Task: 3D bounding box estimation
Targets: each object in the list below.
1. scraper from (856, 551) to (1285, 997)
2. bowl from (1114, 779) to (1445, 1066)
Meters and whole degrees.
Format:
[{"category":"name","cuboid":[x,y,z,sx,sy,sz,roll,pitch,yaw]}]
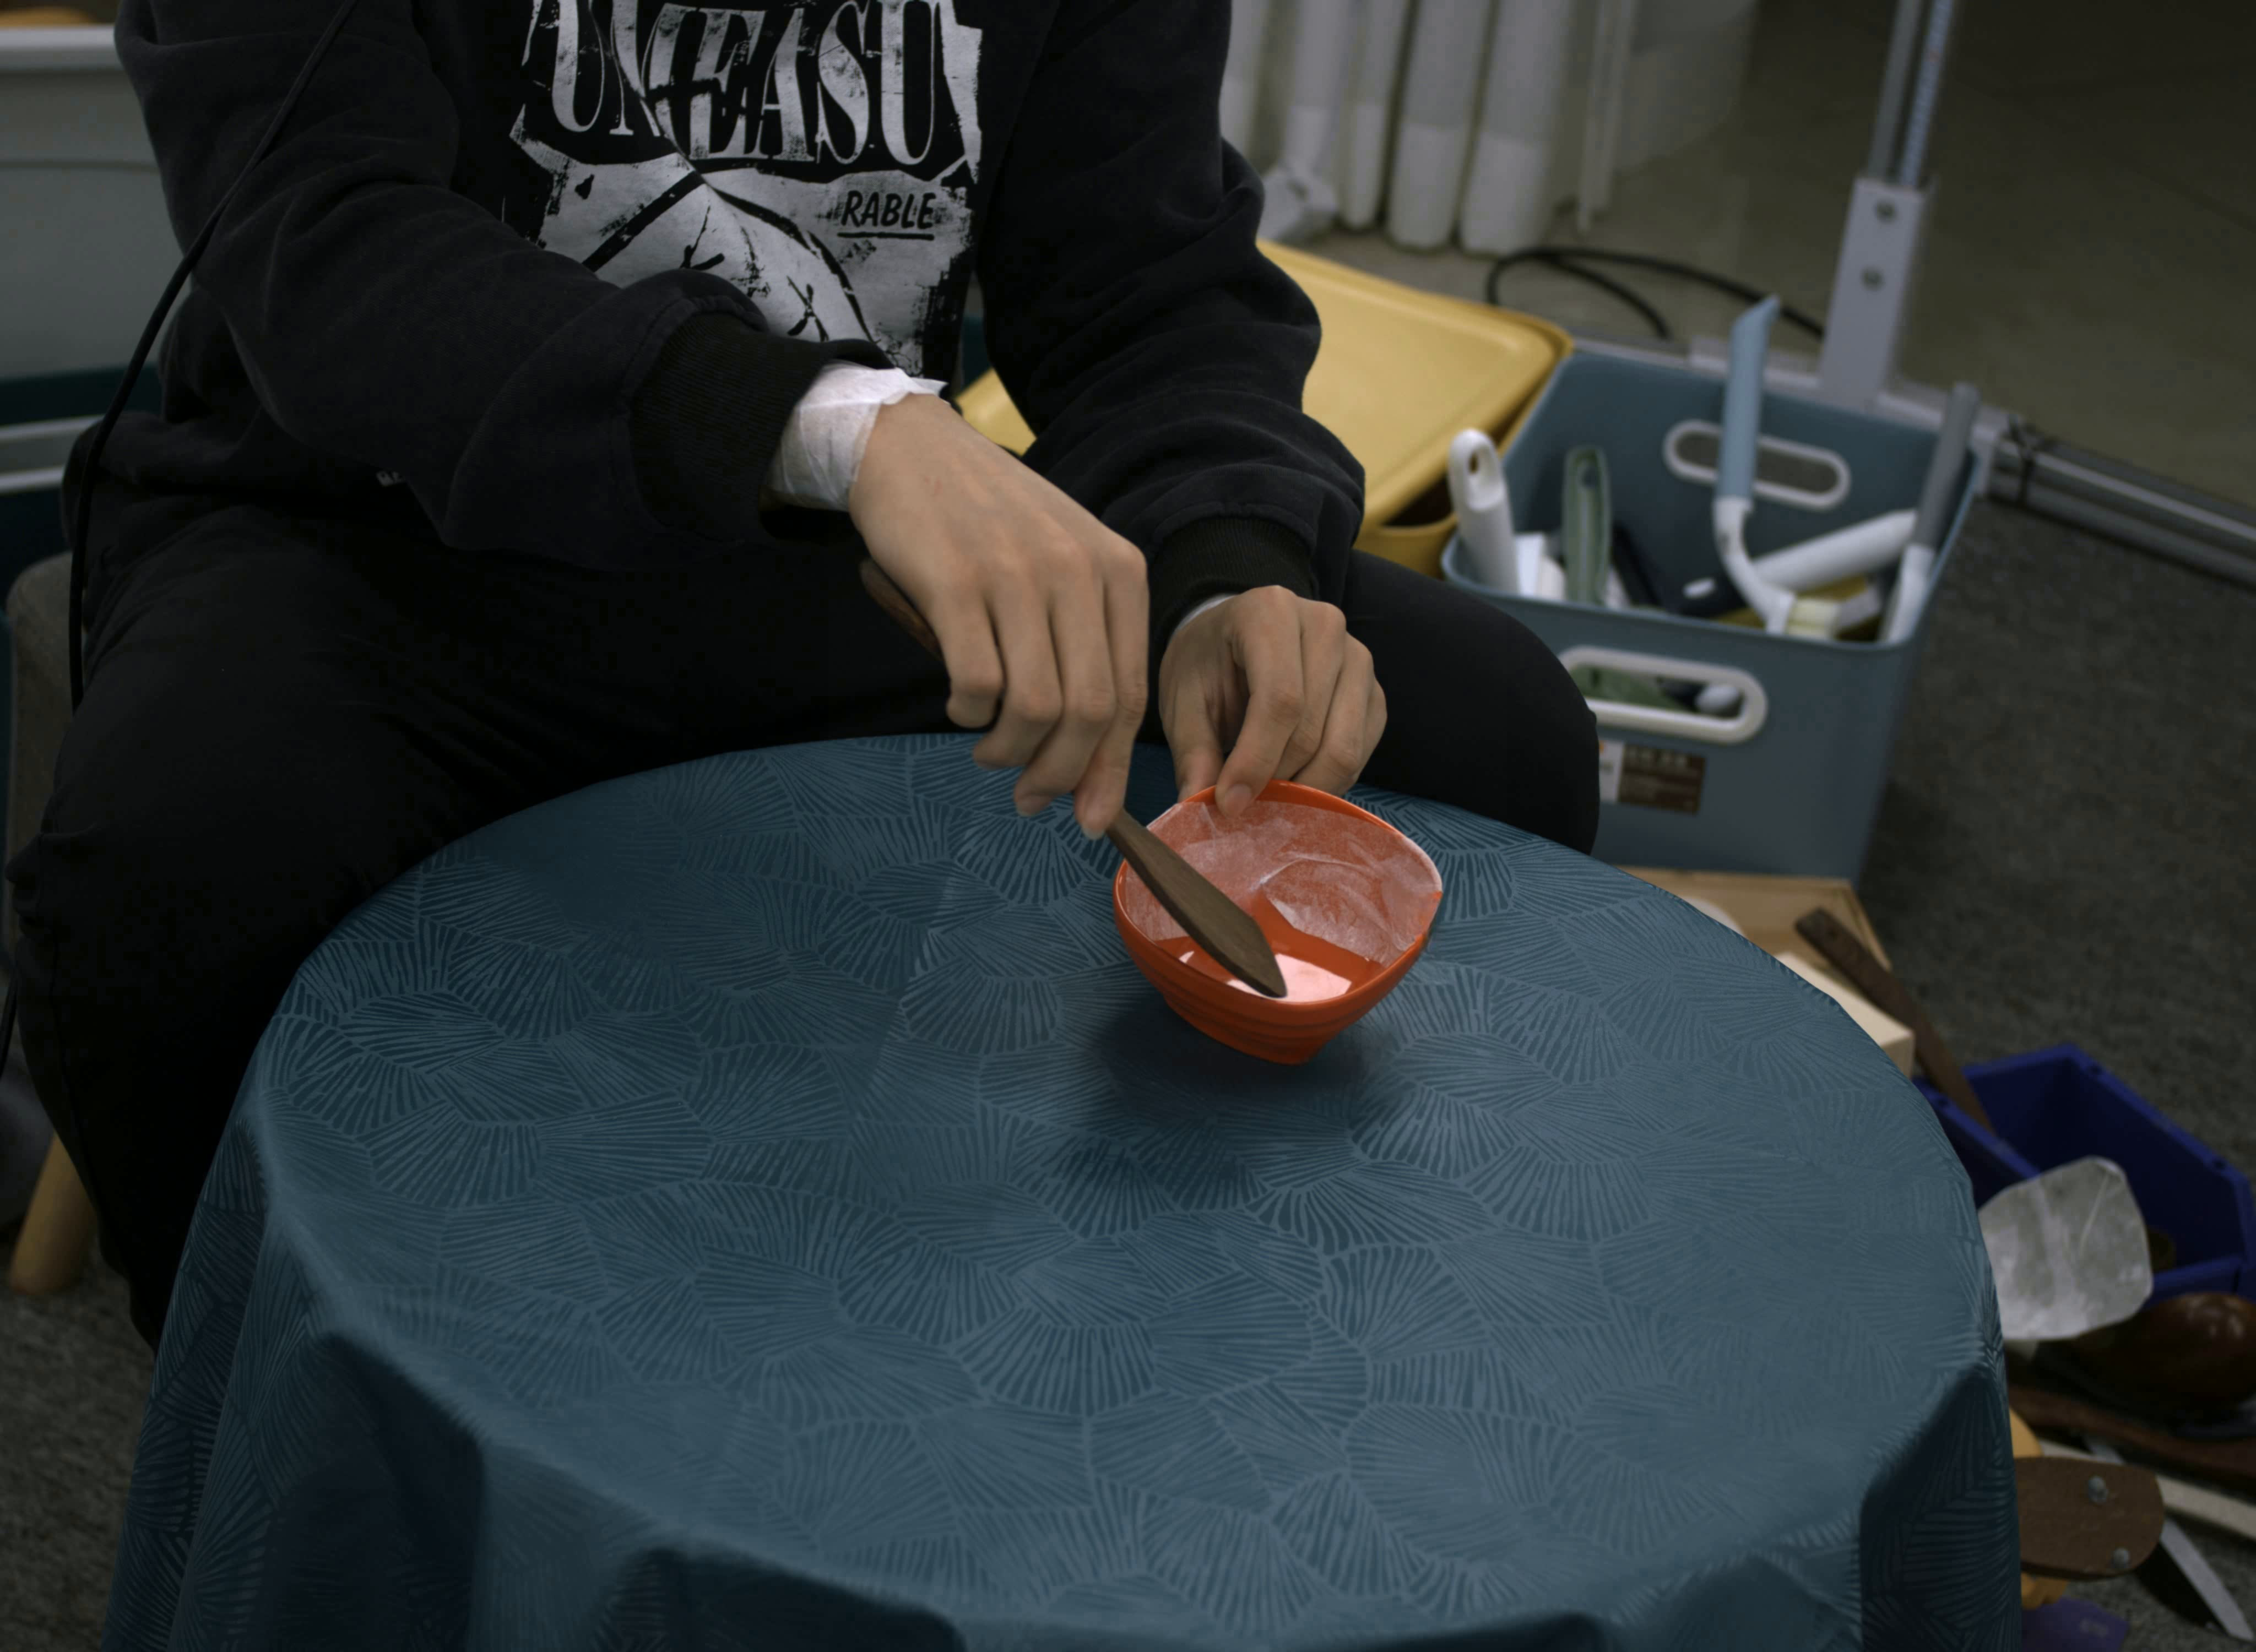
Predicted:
[{"category":"scraper","cuboid":[-0.021,-0.019,1.811,0.210,0.011,0.076,45,9,-21]},{"category":"bowl","cuboid":[0.052,0.041,1.902,0.118,0.051,0.120,2,43,-2]}]
